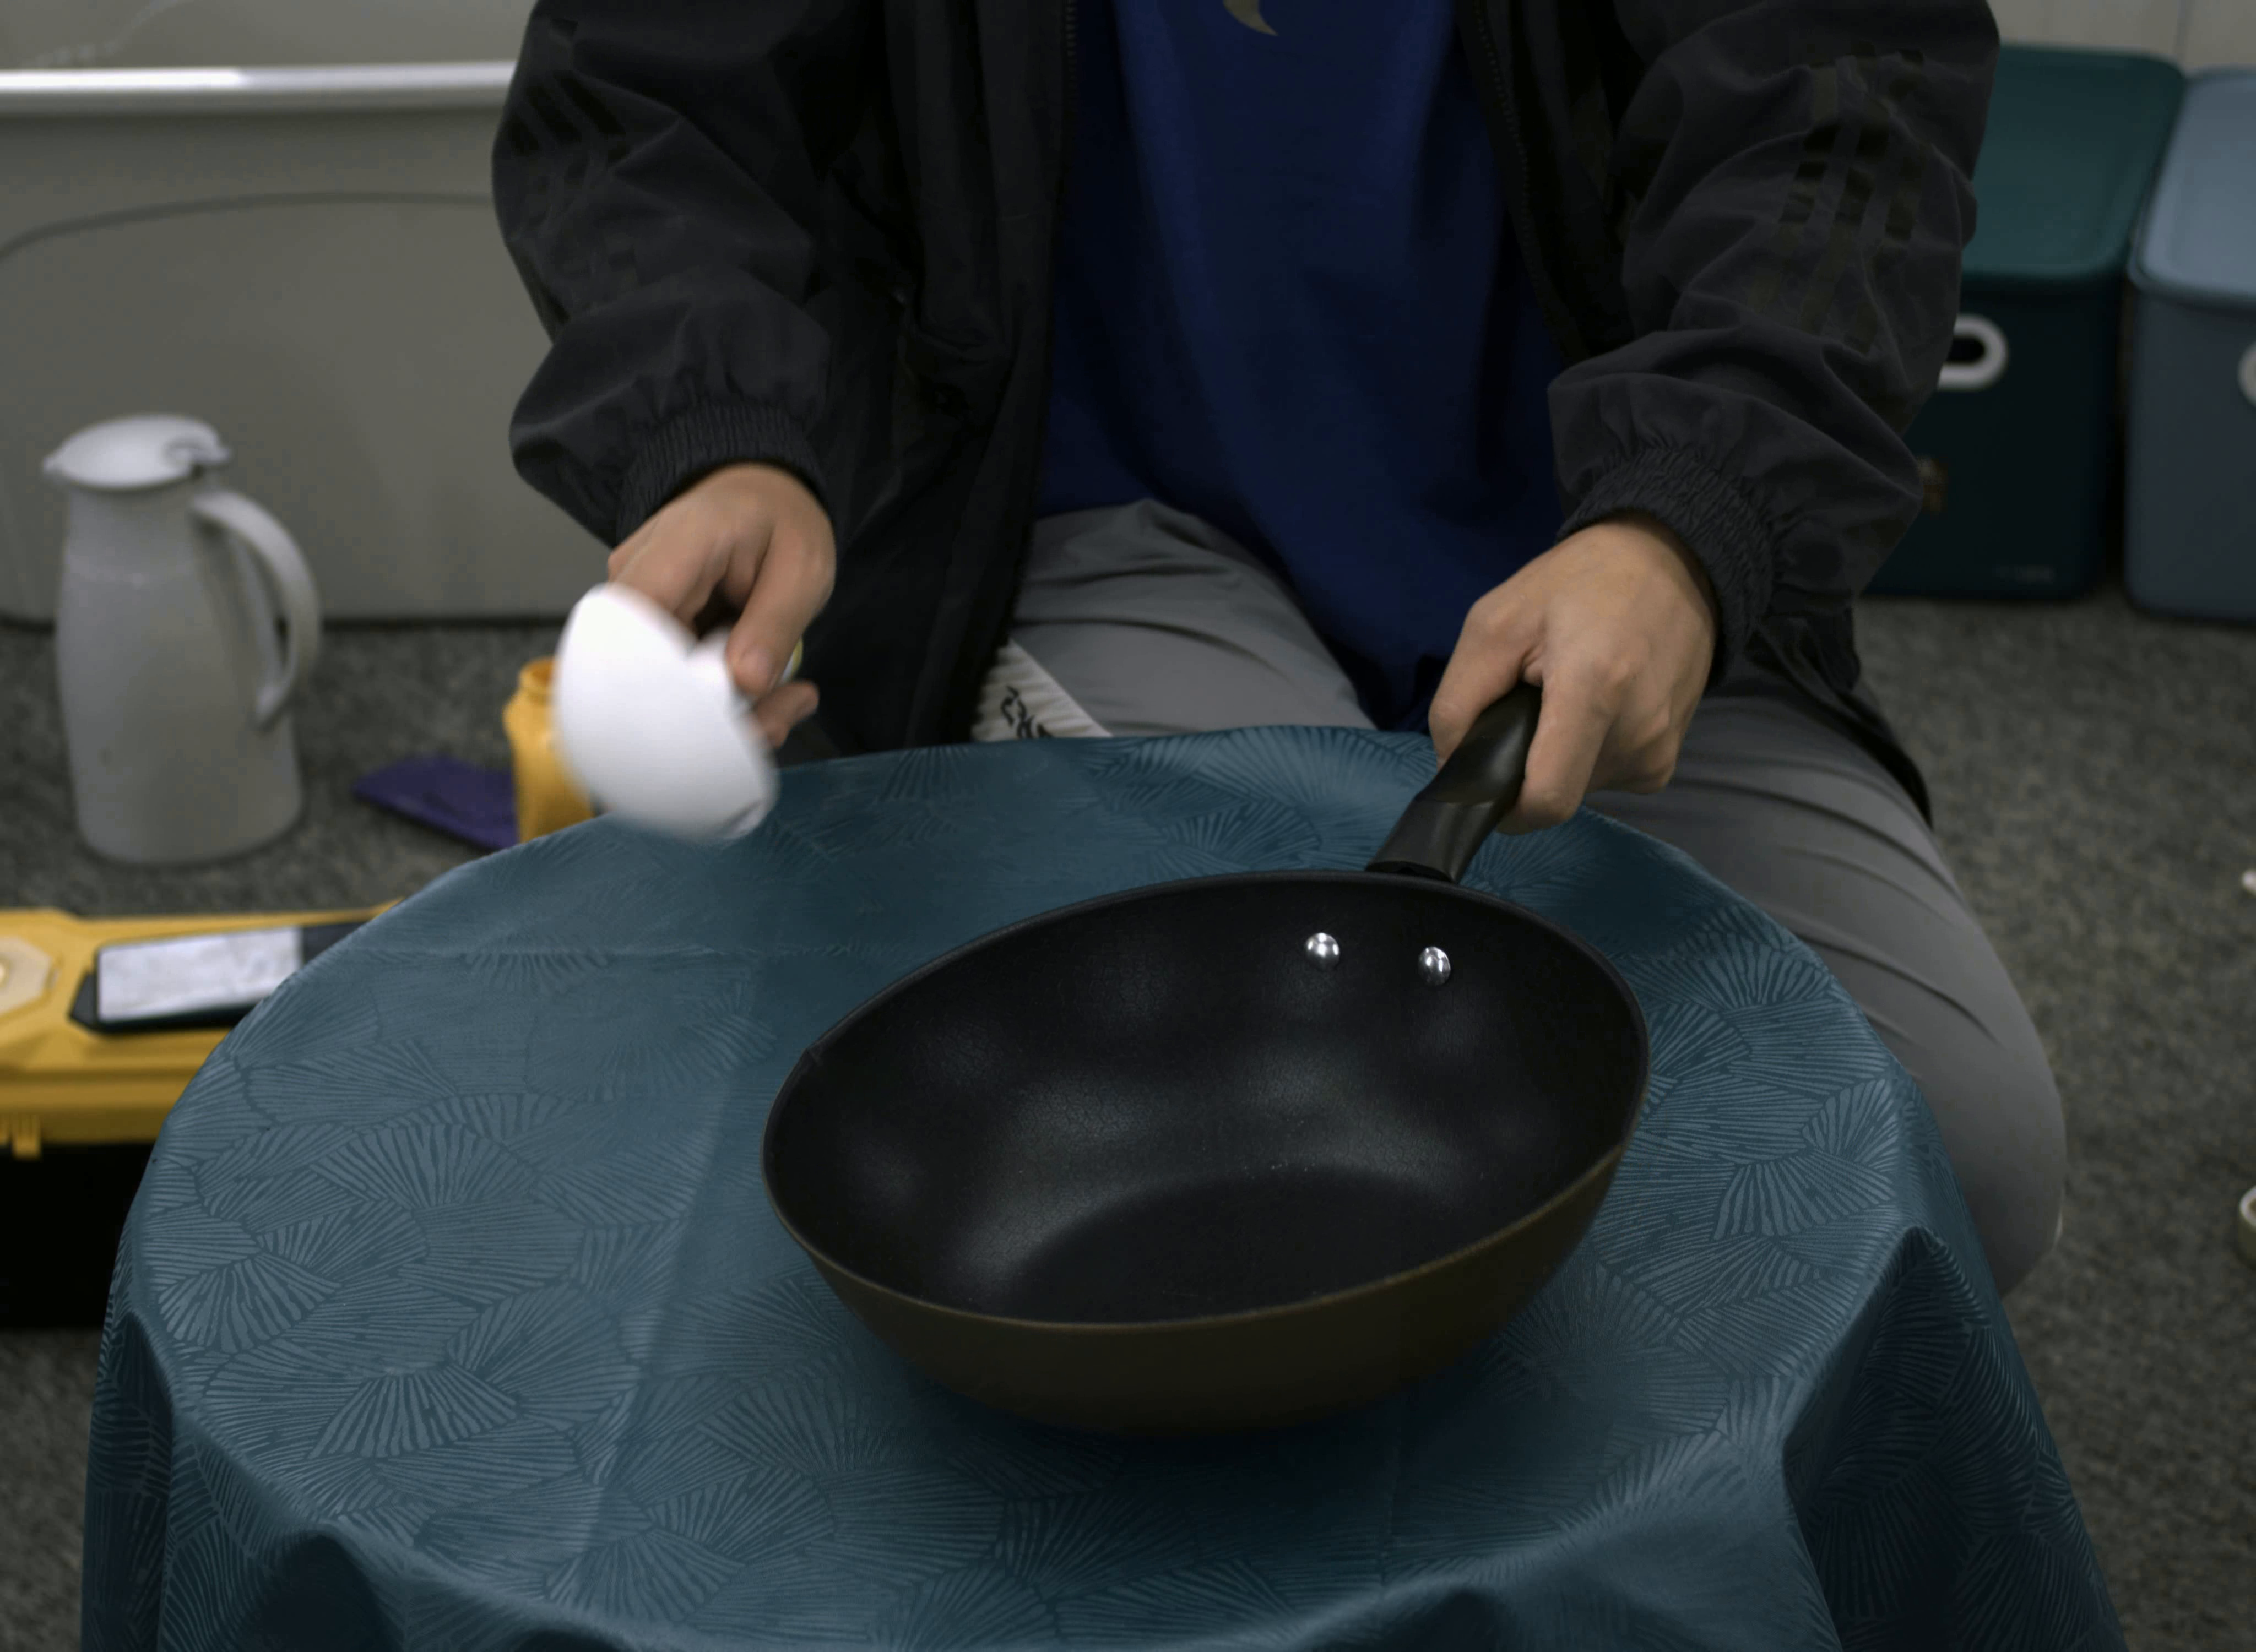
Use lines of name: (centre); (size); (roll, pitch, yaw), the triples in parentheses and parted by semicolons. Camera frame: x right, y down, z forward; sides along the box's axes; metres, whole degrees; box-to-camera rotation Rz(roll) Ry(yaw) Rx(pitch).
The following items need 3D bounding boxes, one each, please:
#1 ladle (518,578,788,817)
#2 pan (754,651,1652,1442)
ladle: (-0.145, -0.047, 1.885); (0.069, 0.090, 0.294); (-44, -1, 10)
pan: (0.068, 0.073, 1.840); (0.286, 0.086, 0.471); (7, 29, 27)
